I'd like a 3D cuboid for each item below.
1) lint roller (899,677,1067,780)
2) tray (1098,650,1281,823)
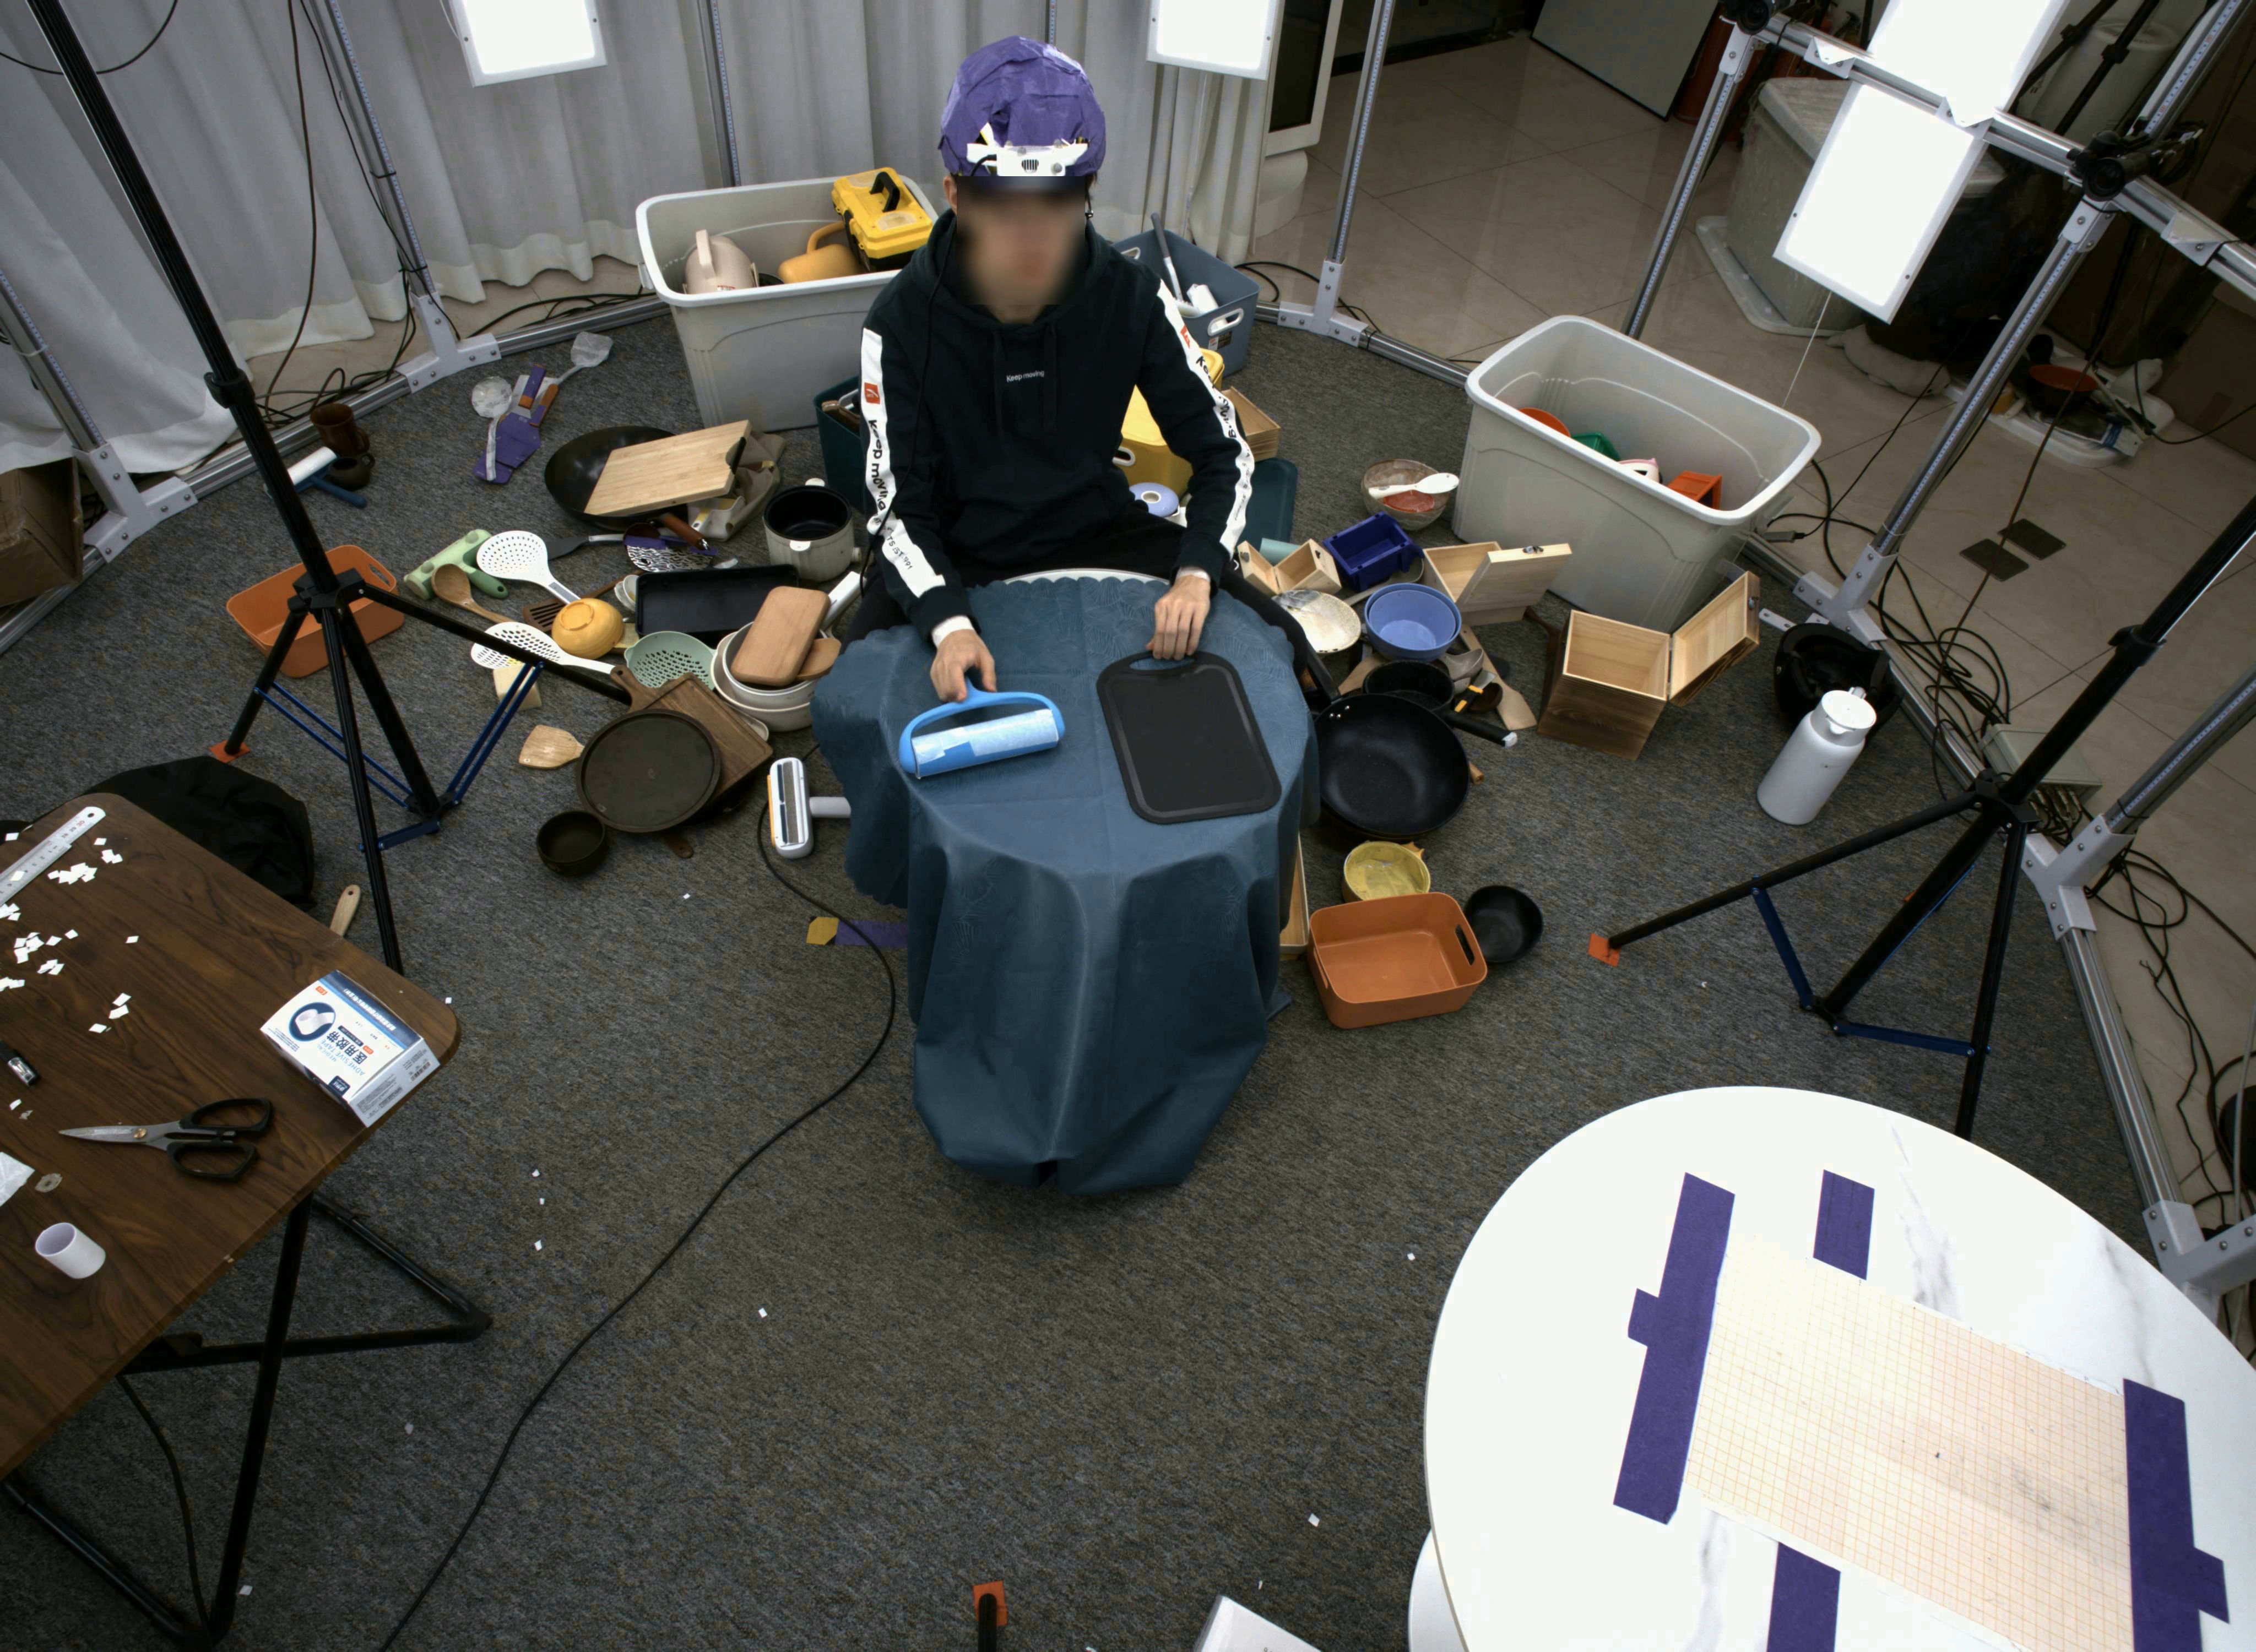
[{"bbox_3d":[-0.215,-0.155,1.752,0.229,0.066,0.184,-17,53,-16],"label":"lint roller"},{"bbox_3d":[0.079,-0.135,1.786,0.211,0.009,0.333,-7,50,-9],"label":"tray"}]
